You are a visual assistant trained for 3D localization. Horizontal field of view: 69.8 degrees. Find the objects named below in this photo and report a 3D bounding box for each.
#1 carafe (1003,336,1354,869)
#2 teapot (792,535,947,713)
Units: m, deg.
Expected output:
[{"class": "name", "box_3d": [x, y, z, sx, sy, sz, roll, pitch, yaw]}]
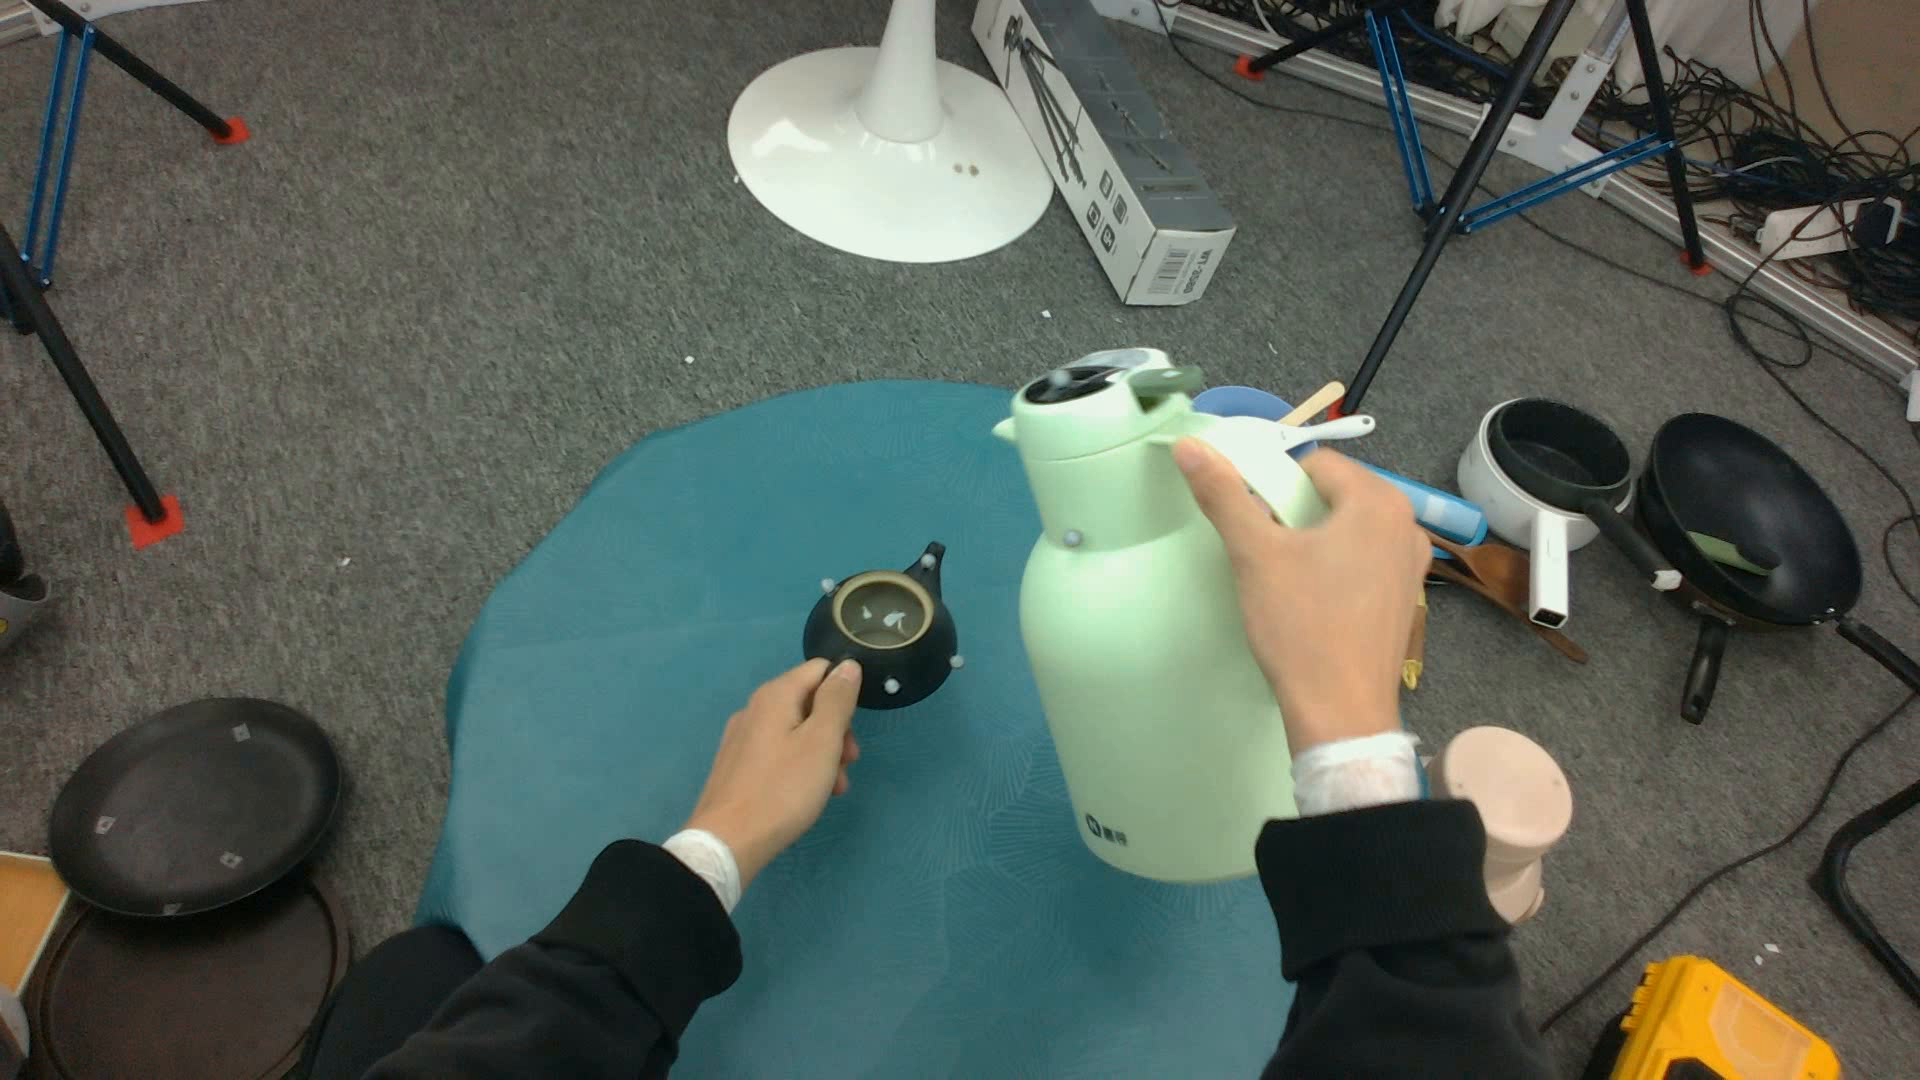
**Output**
[{"class": "carafe", "box_3d": [0.110, 0.030, 0.681, 0.145, 0.256, 0.186, -33, 31, -33]}, {"class": "teapot", "box_3d": [-0.053, 0.053, 0.800, 0.091, 0.053, 0.134, 23, 47, 17]}]
